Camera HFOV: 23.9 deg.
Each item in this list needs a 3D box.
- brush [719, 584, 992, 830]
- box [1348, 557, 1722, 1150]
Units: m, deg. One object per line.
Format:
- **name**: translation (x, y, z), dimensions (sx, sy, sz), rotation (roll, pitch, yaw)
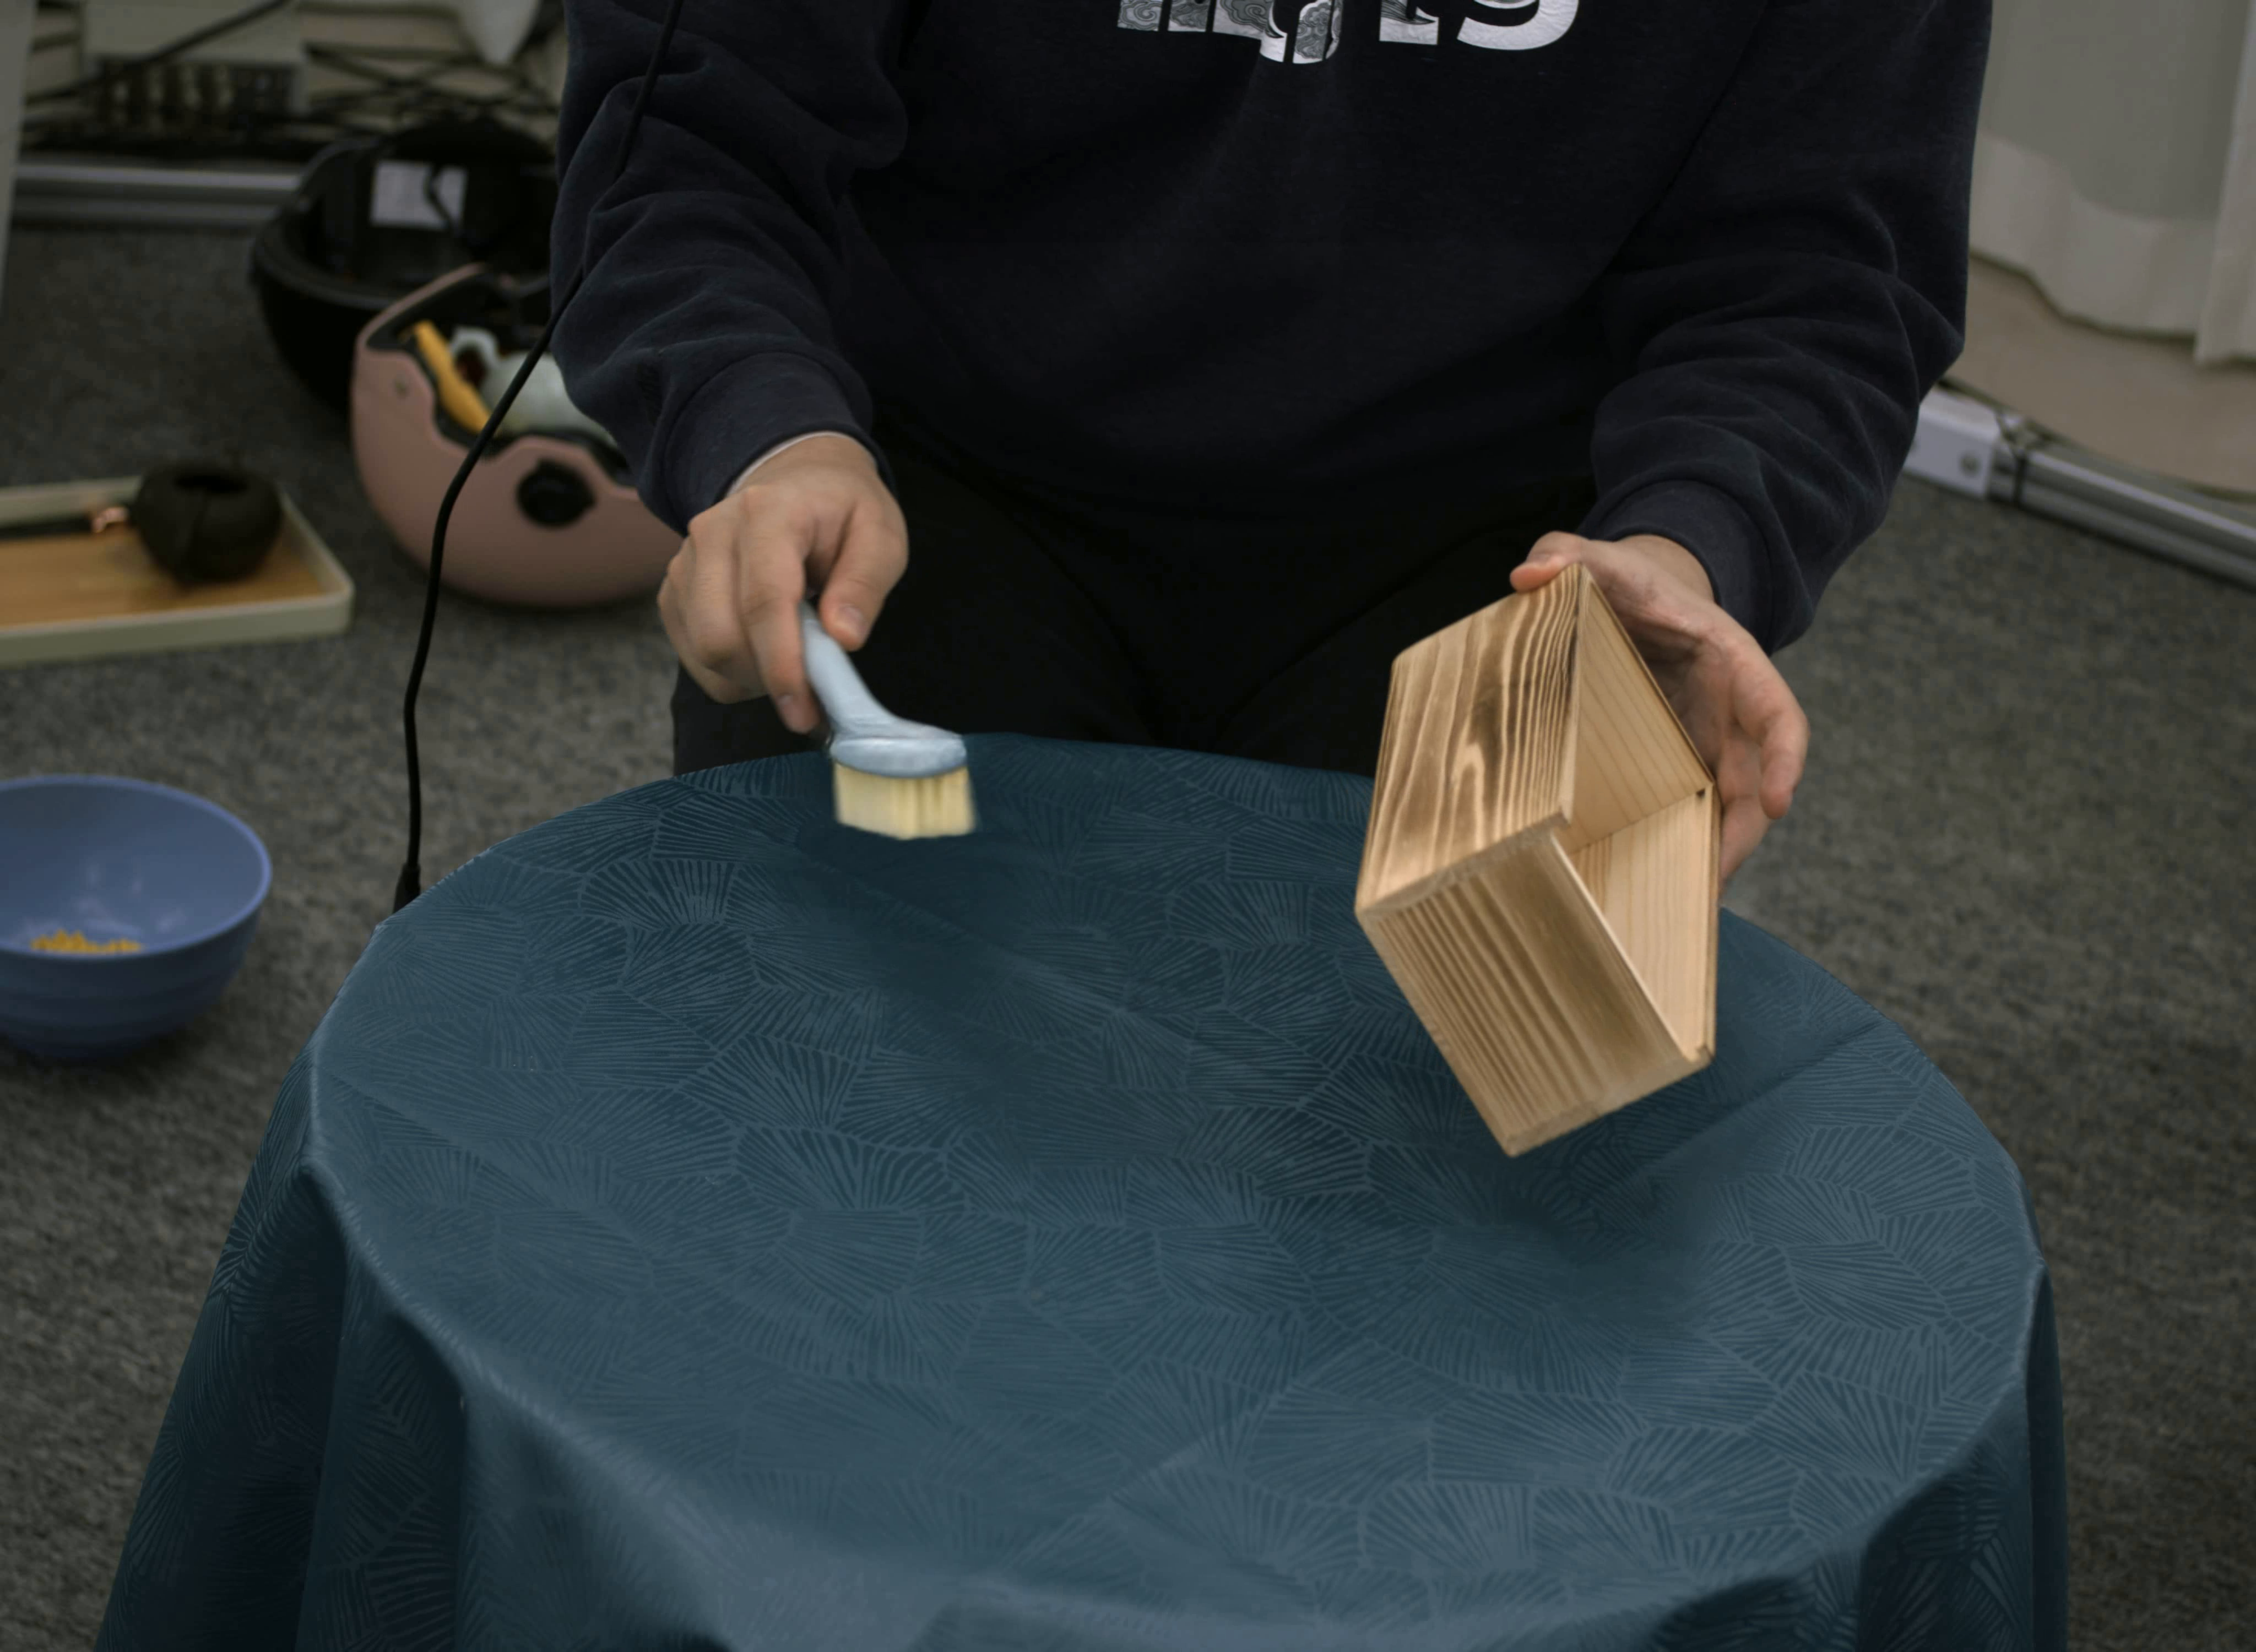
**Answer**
- **brush**: translation (-0.101, -0.041, 1.877), dimensions (0.037, 0.049, 0.230), rotation (-9, 21, -21)
- **box**: translation (0.144, 0.006, 1.849), dimensions (0.080, 0.107, 0.212), rotation (-26, 20, 19)
